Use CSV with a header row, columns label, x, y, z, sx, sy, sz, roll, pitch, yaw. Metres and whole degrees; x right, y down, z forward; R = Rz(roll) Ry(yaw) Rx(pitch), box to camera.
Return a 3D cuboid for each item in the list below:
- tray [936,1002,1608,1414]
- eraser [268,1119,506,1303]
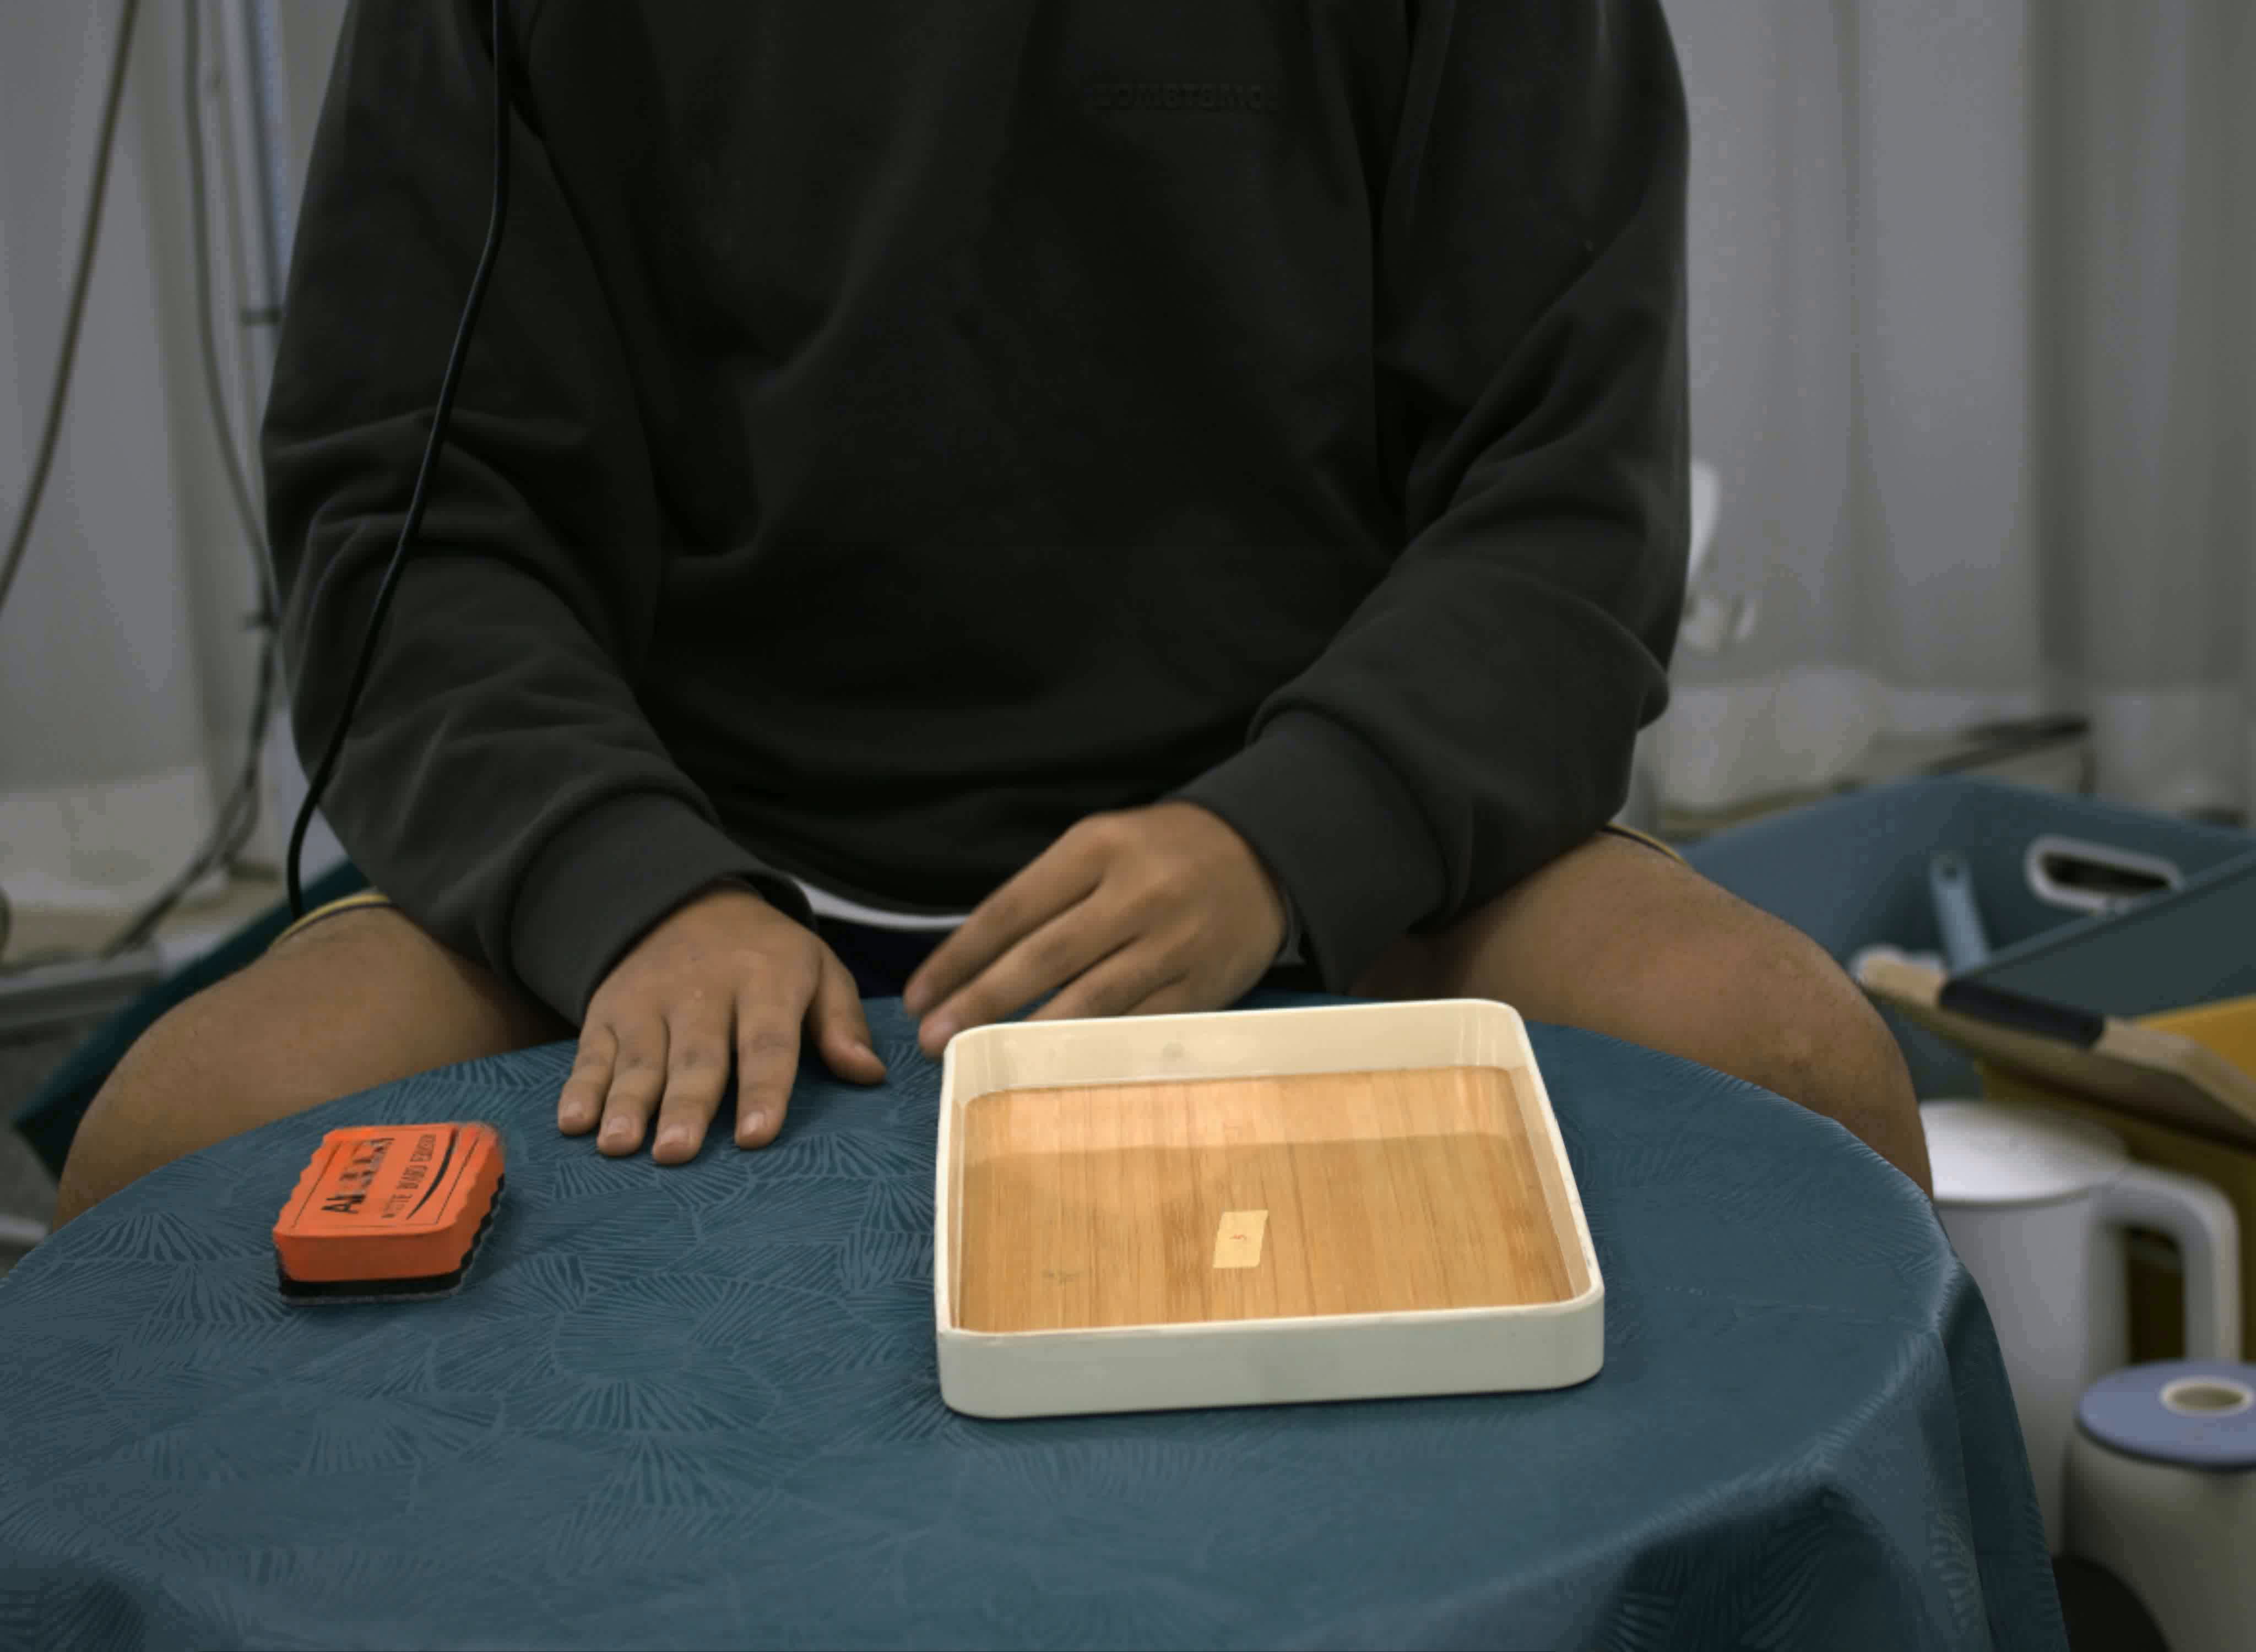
label,x,y,z,sx,sy,sz,roll,pitch,yaw
tray,0.038,0.112,1.667,0.191,0.027,0.302,-3,15,0
eraser,-0.229,0.119,1.698,0.059,0.023,0.109,-2,15,3
